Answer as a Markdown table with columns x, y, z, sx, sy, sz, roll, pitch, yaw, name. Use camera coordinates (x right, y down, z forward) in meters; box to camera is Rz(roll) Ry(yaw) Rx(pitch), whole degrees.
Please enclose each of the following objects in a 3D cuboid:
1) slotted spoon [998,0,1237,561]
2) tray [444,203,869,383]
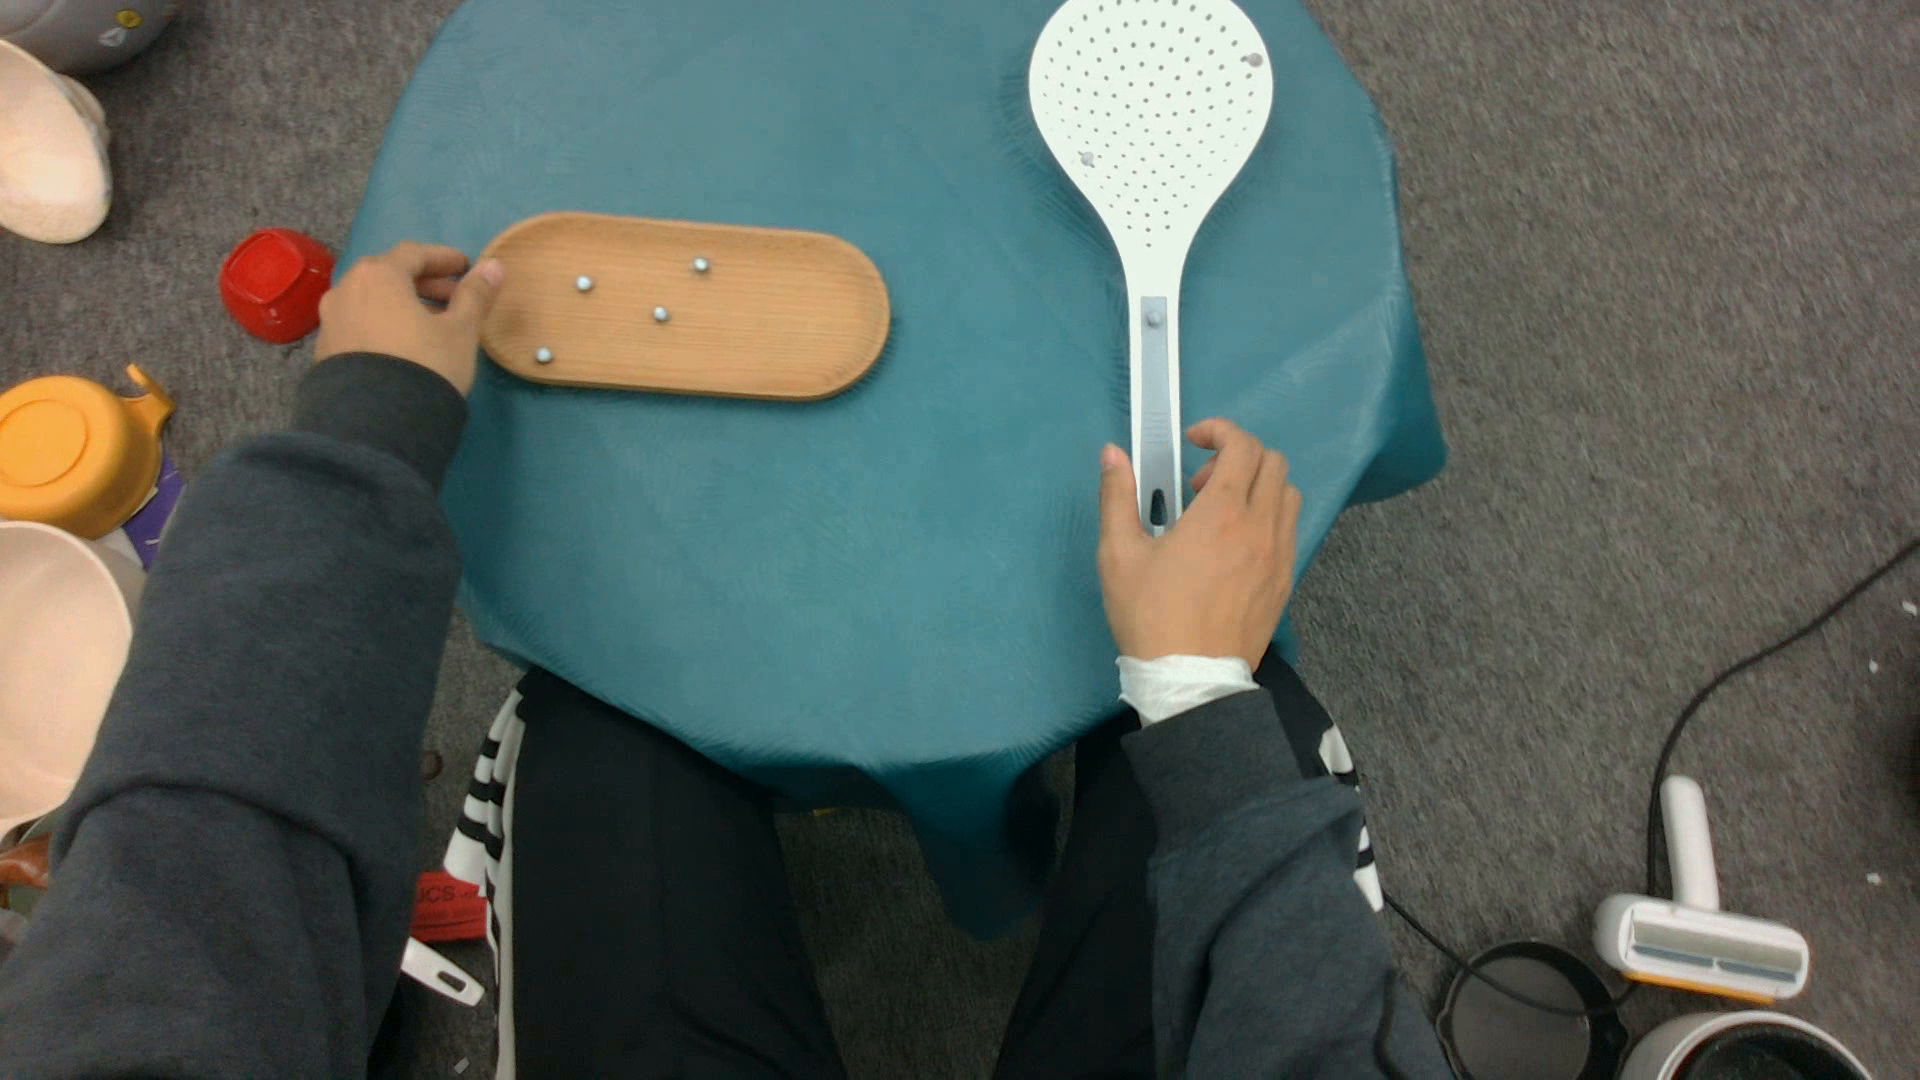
| x | y | z | sx | sy | sz | roll | pitch | yaw | name |
| --- | --- | --- | --- | --- | --- | --- | --- | --- | --- |
| 0.093 | -0.162 | 0.767 | 0.136 | 0.045 | 0.350 | -2 | 76 | -1 | slotted spoon |
| -0.166 | -0.136 | 0.762 | 0.231 | 0.020 | 0.102 | 2 | 76 | -3 | tray |
